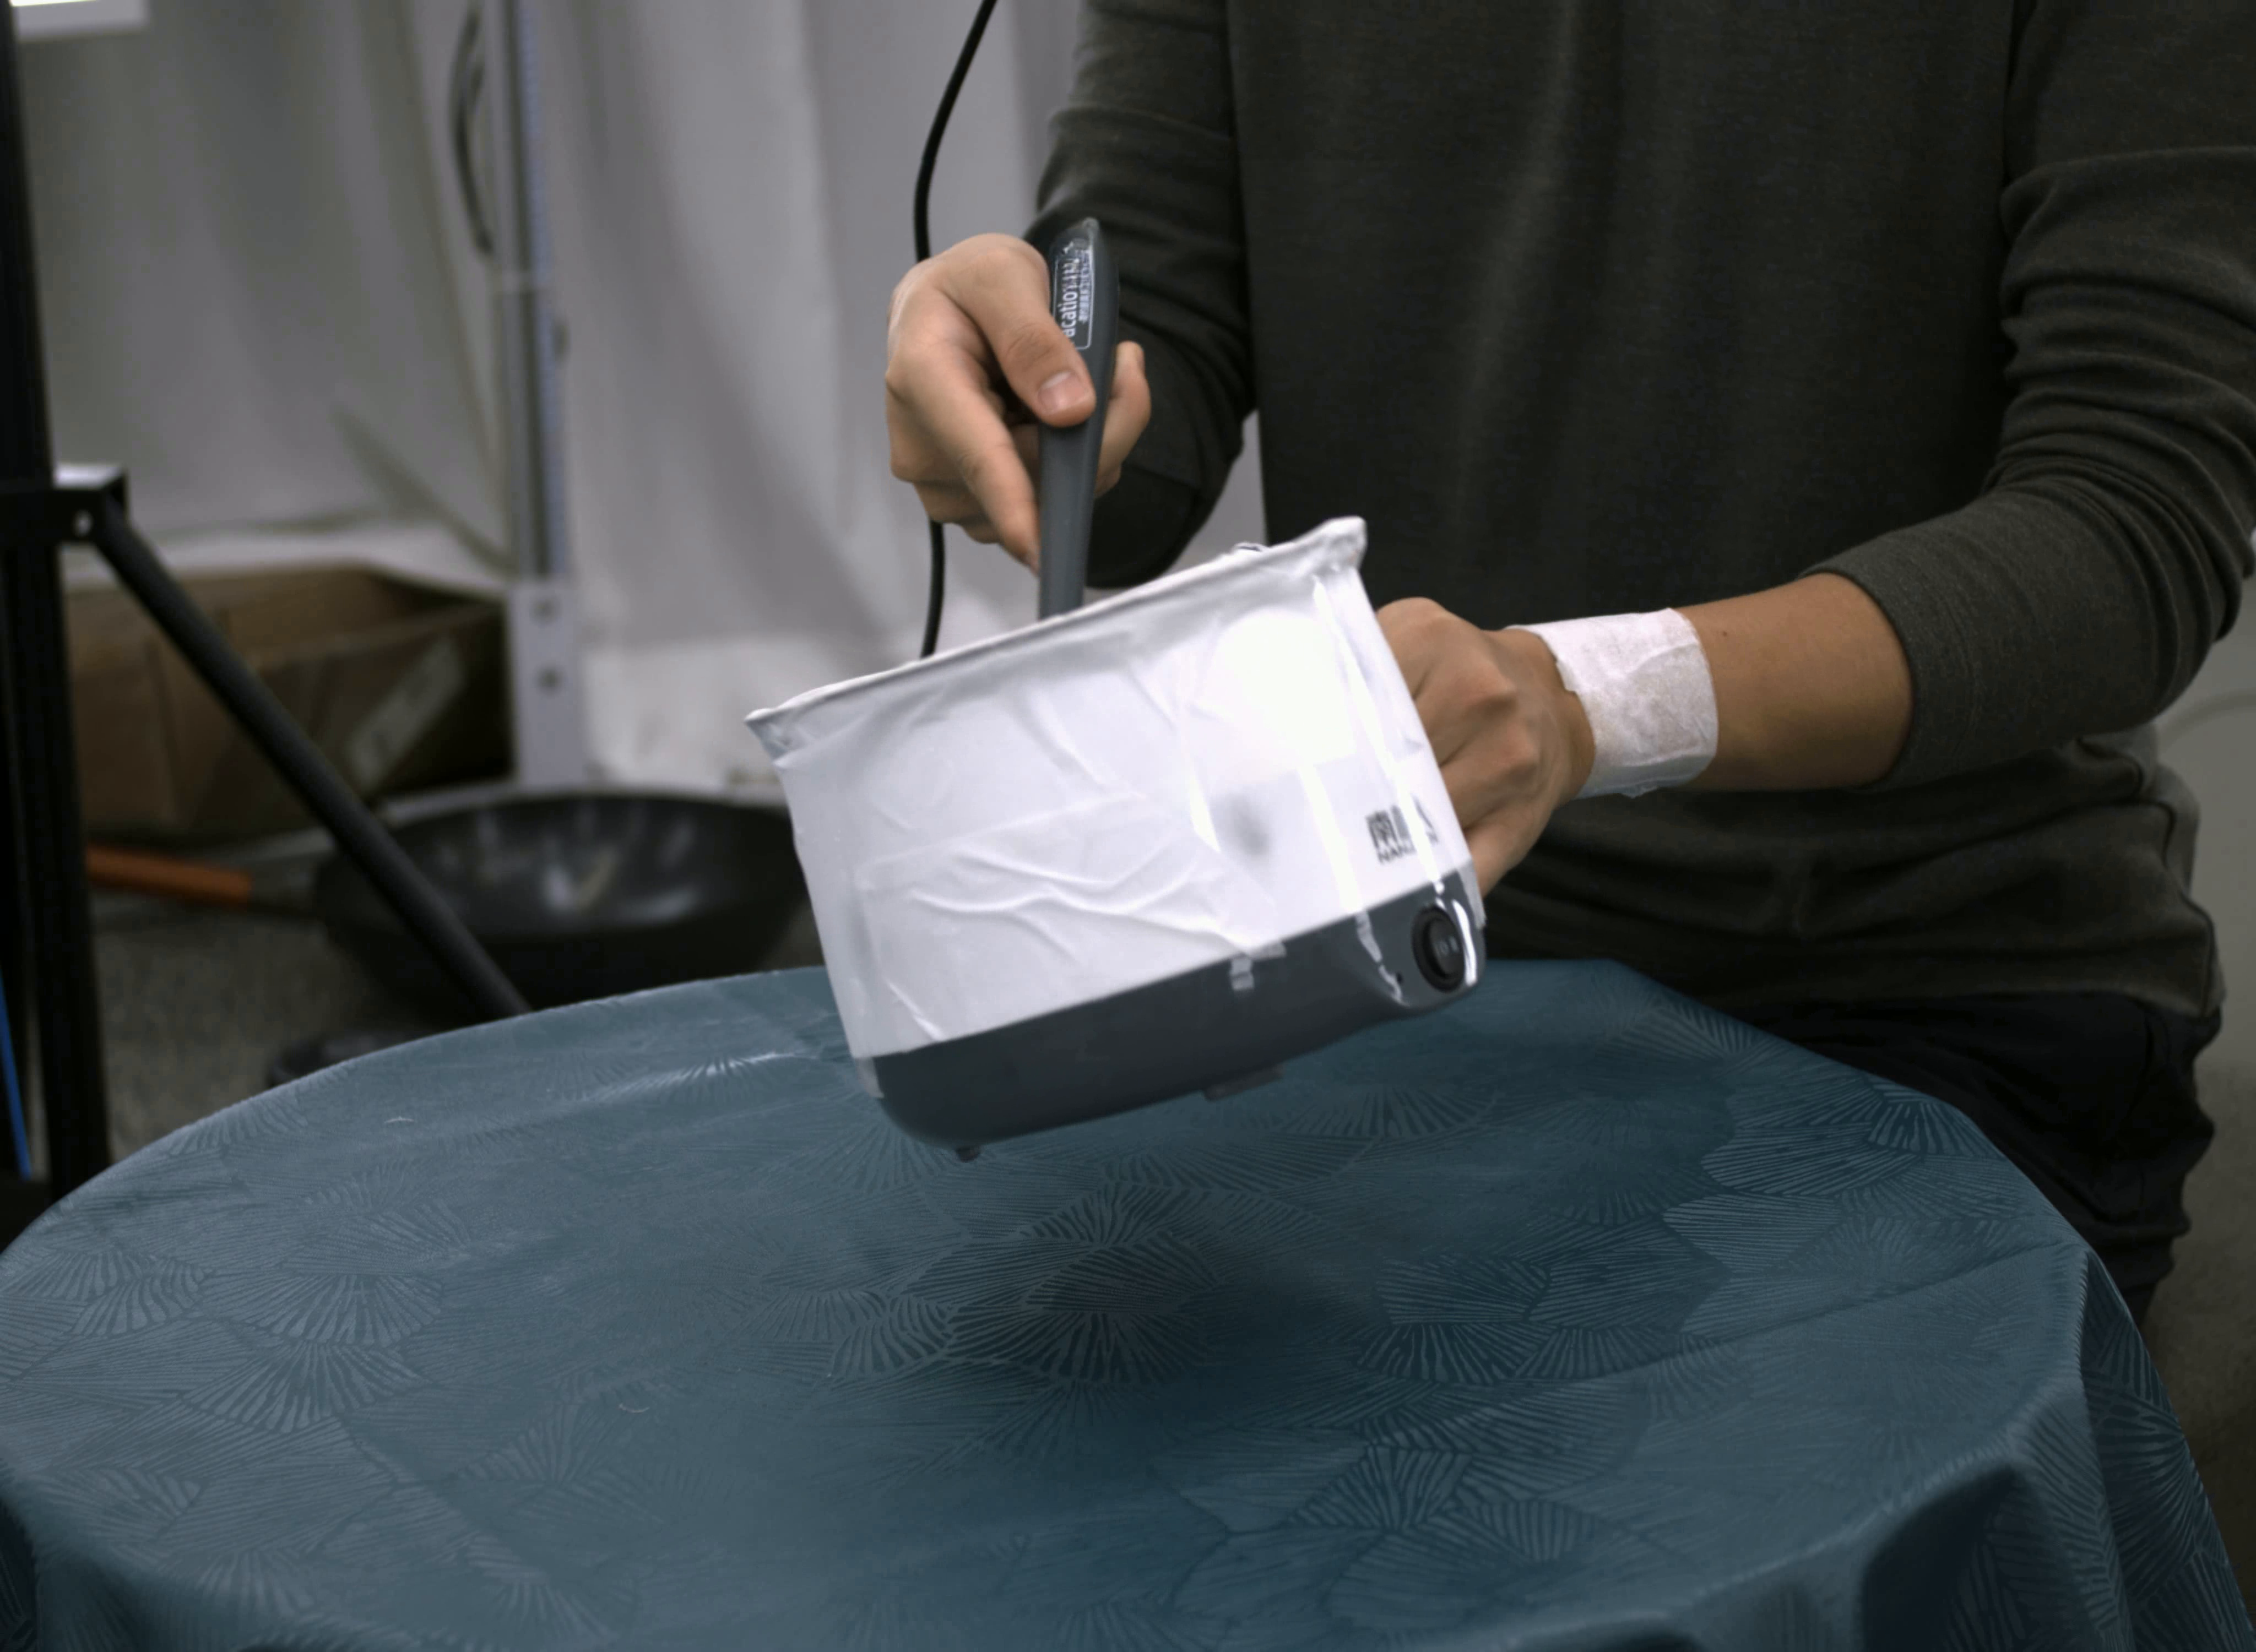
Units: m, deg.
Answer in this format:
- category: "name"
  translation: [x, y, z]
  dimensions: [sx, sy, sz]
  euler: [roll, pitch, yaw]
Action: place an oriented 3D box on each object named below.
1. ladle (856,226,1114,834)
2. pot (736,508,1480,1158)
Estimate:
- category: "ladle"
  translation: [-0.024, -0.092, 1.502]
  dimensions: [0.086, 0.063, 0.316]
  euler: [-3, 42, 6]
- category: "pot"
  translation: [0.012, -0.003, 1.459]
  dimensions: [0.181, 0.137, 0.229]
  euler: [-17, 2, 35]
